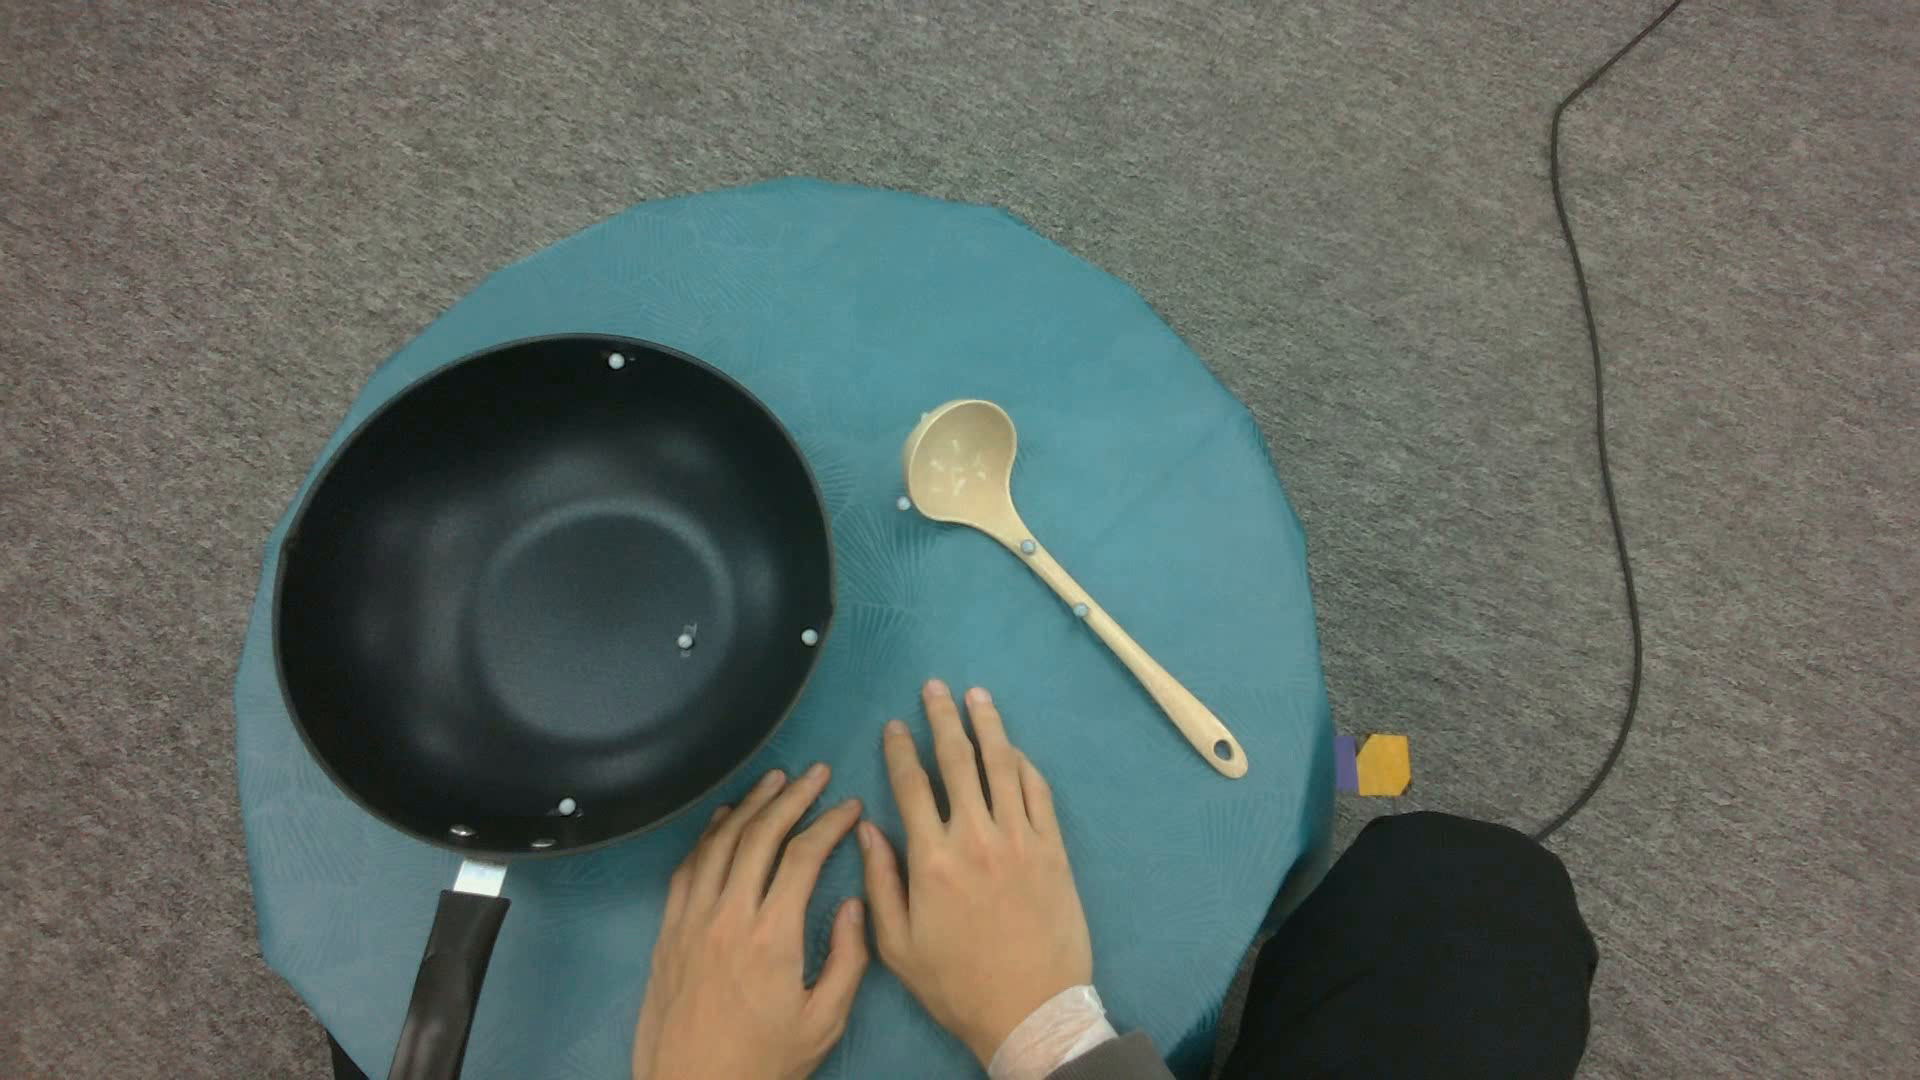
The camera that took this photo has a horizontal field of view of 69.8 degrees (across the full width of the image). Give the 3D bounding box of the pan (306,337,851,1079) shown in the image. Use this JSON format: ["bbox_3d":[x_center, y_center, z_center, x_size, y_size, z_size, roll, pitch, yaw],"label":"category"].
[{"bbox_3d":[-0.211,0.118,0.716,0.288,0.086,0.465,8,71,5],"label":"pan"}]

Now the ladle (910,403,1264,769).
[{"bbox_3d":[0.073,0.024,0.745,0.072,0.072,0.254,-41,72,-14],"label":"ladle"}]
